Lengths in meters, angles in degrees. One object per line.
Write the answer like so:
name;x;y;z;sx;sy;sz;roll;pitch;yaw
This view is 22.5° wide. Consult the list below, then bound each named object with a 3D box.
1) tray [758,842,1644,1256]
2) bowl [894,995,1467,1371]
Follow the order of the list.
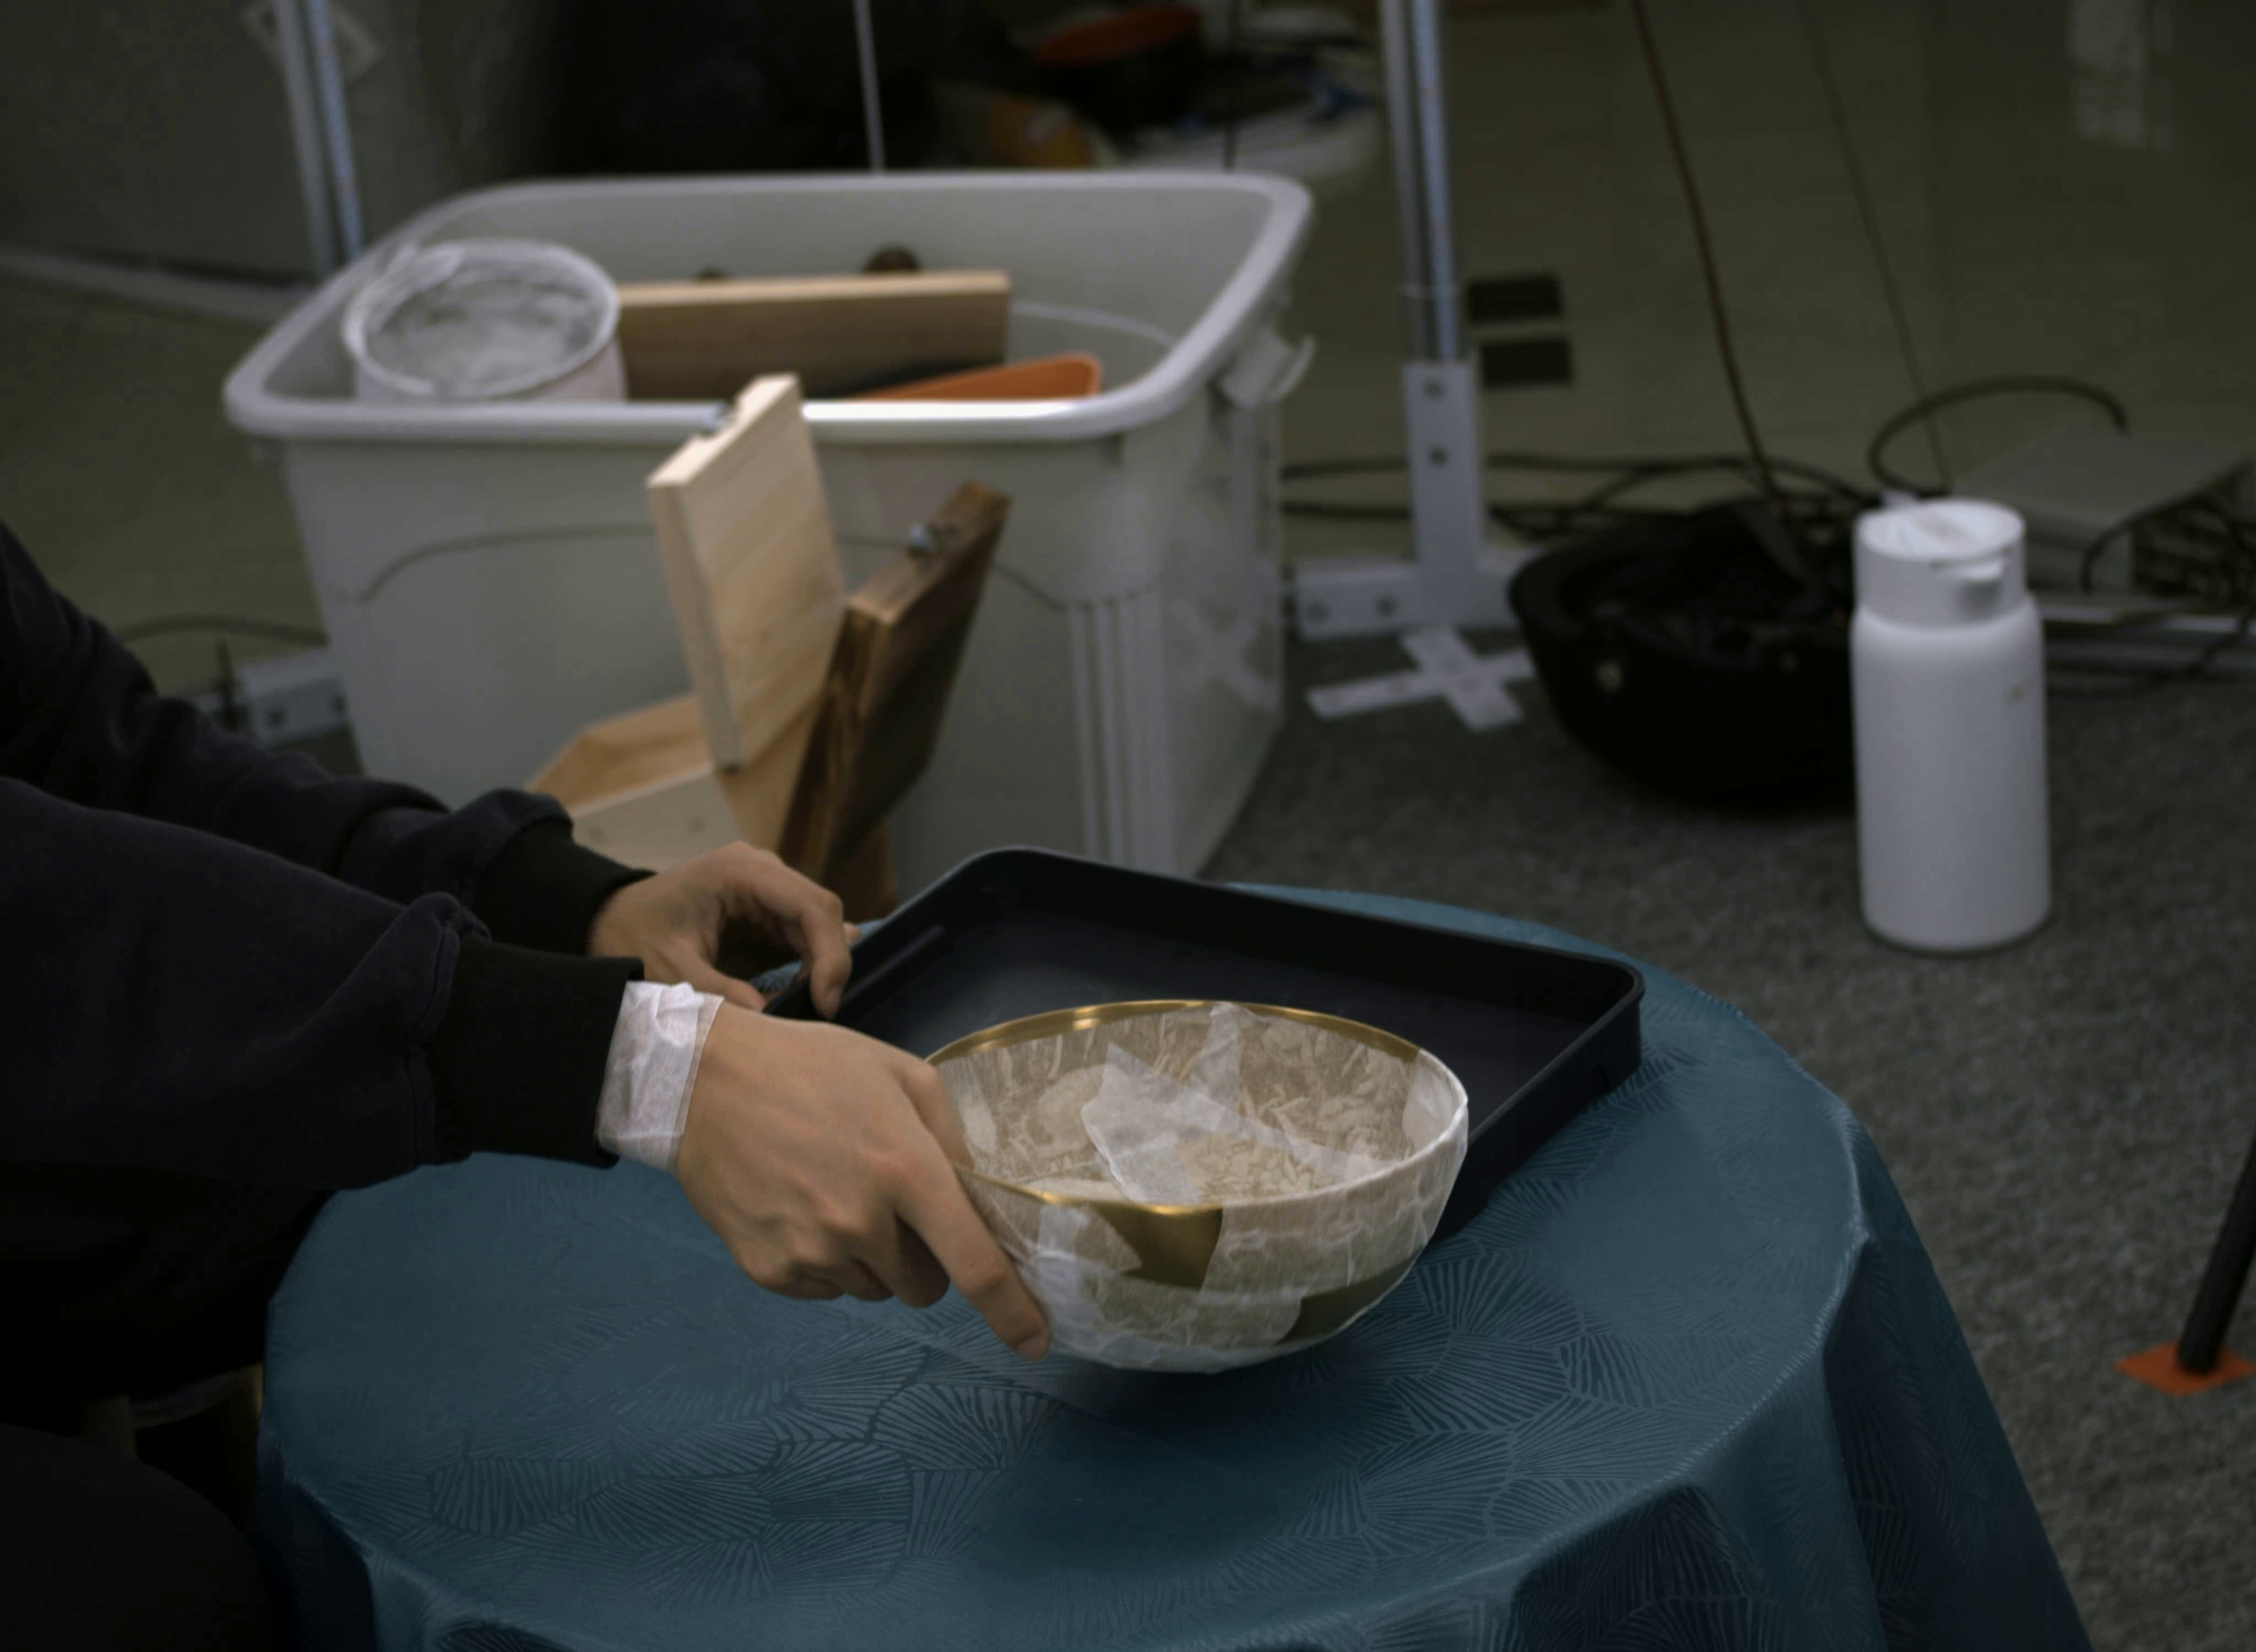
tray;0.028;0.083;2.221;0.316;0.037;0.182;13;31;32
bowl;0.017;0.135;2.016;0.214;0.096;0.212;-1;20;0
